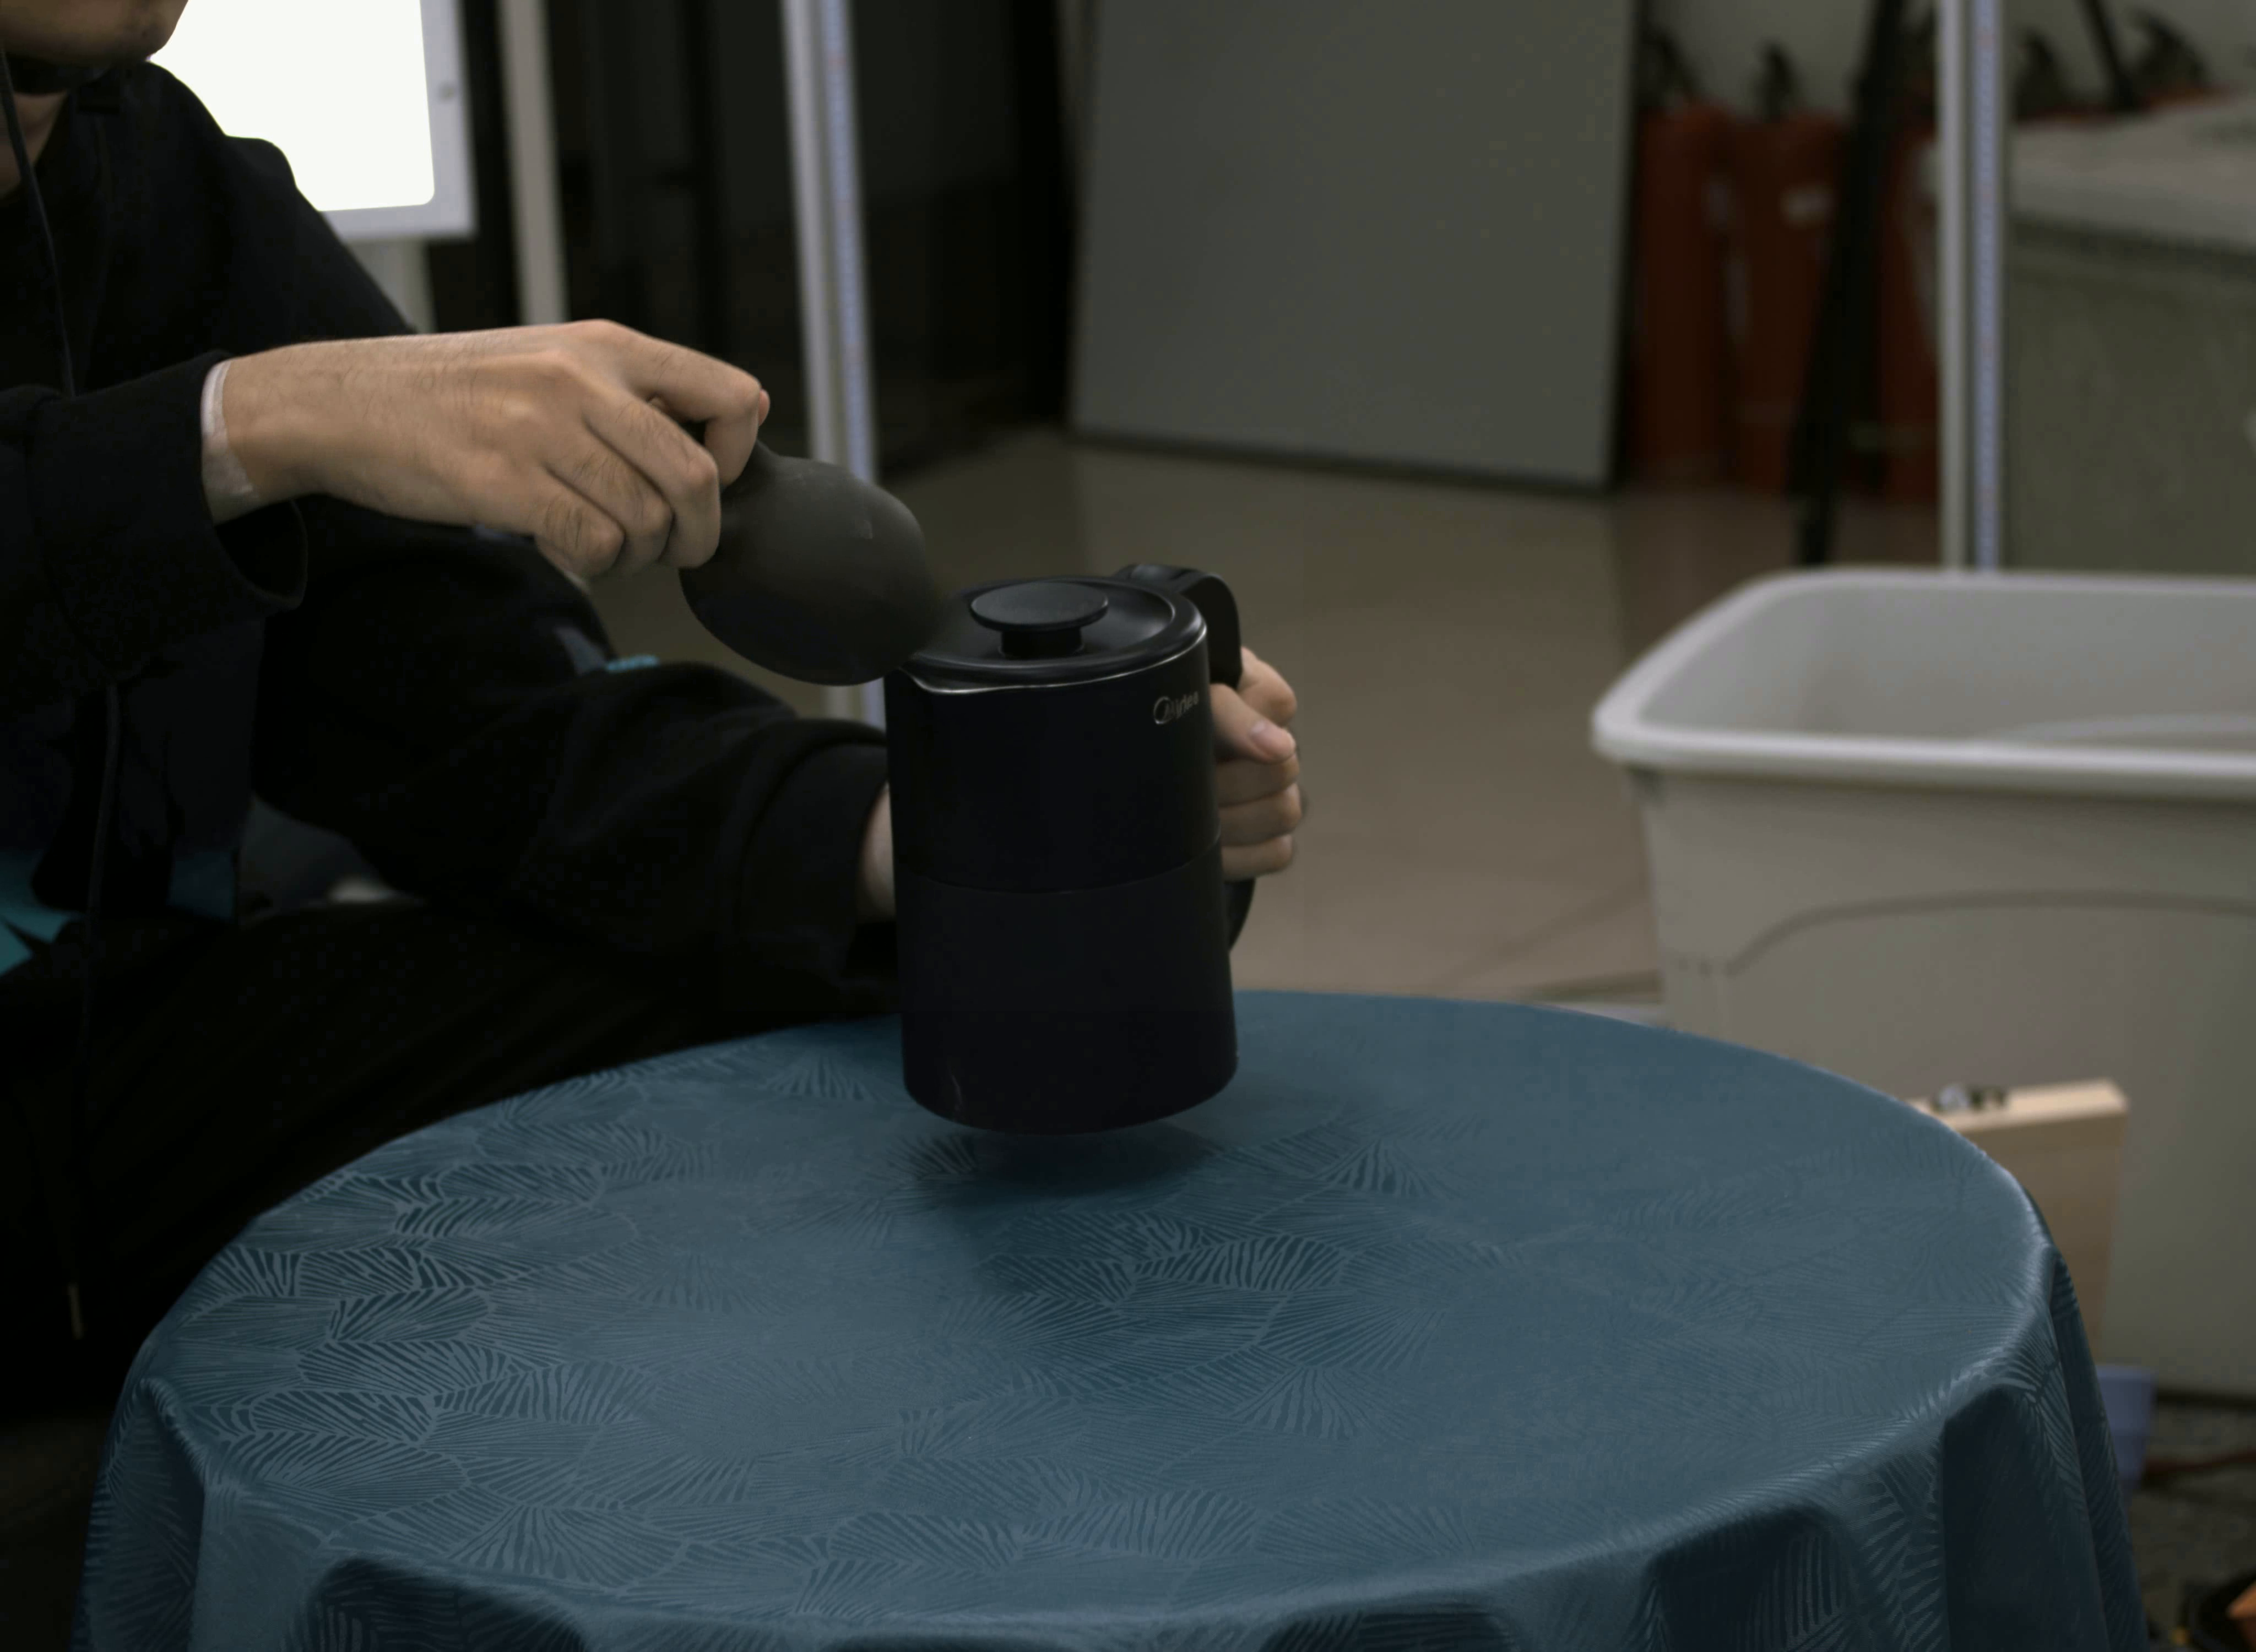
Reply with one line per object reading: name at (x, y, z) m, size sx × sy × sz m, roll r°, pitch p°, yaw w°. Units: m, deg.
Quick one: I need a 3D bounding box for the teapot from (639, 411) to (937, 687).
teapot at (-0.107, -0.086, 1.669) m, size 0.084 × 0.112 × 0.053 m, roll -7°, pitch 50°, yaw 51°

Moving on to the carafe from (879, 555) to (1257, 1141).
carafe at (-0.013, -0.004, 1.806) m, size 0.115 × 0.175 × 0.169 m, roll 5°, pitch 22°, yaw 31°
